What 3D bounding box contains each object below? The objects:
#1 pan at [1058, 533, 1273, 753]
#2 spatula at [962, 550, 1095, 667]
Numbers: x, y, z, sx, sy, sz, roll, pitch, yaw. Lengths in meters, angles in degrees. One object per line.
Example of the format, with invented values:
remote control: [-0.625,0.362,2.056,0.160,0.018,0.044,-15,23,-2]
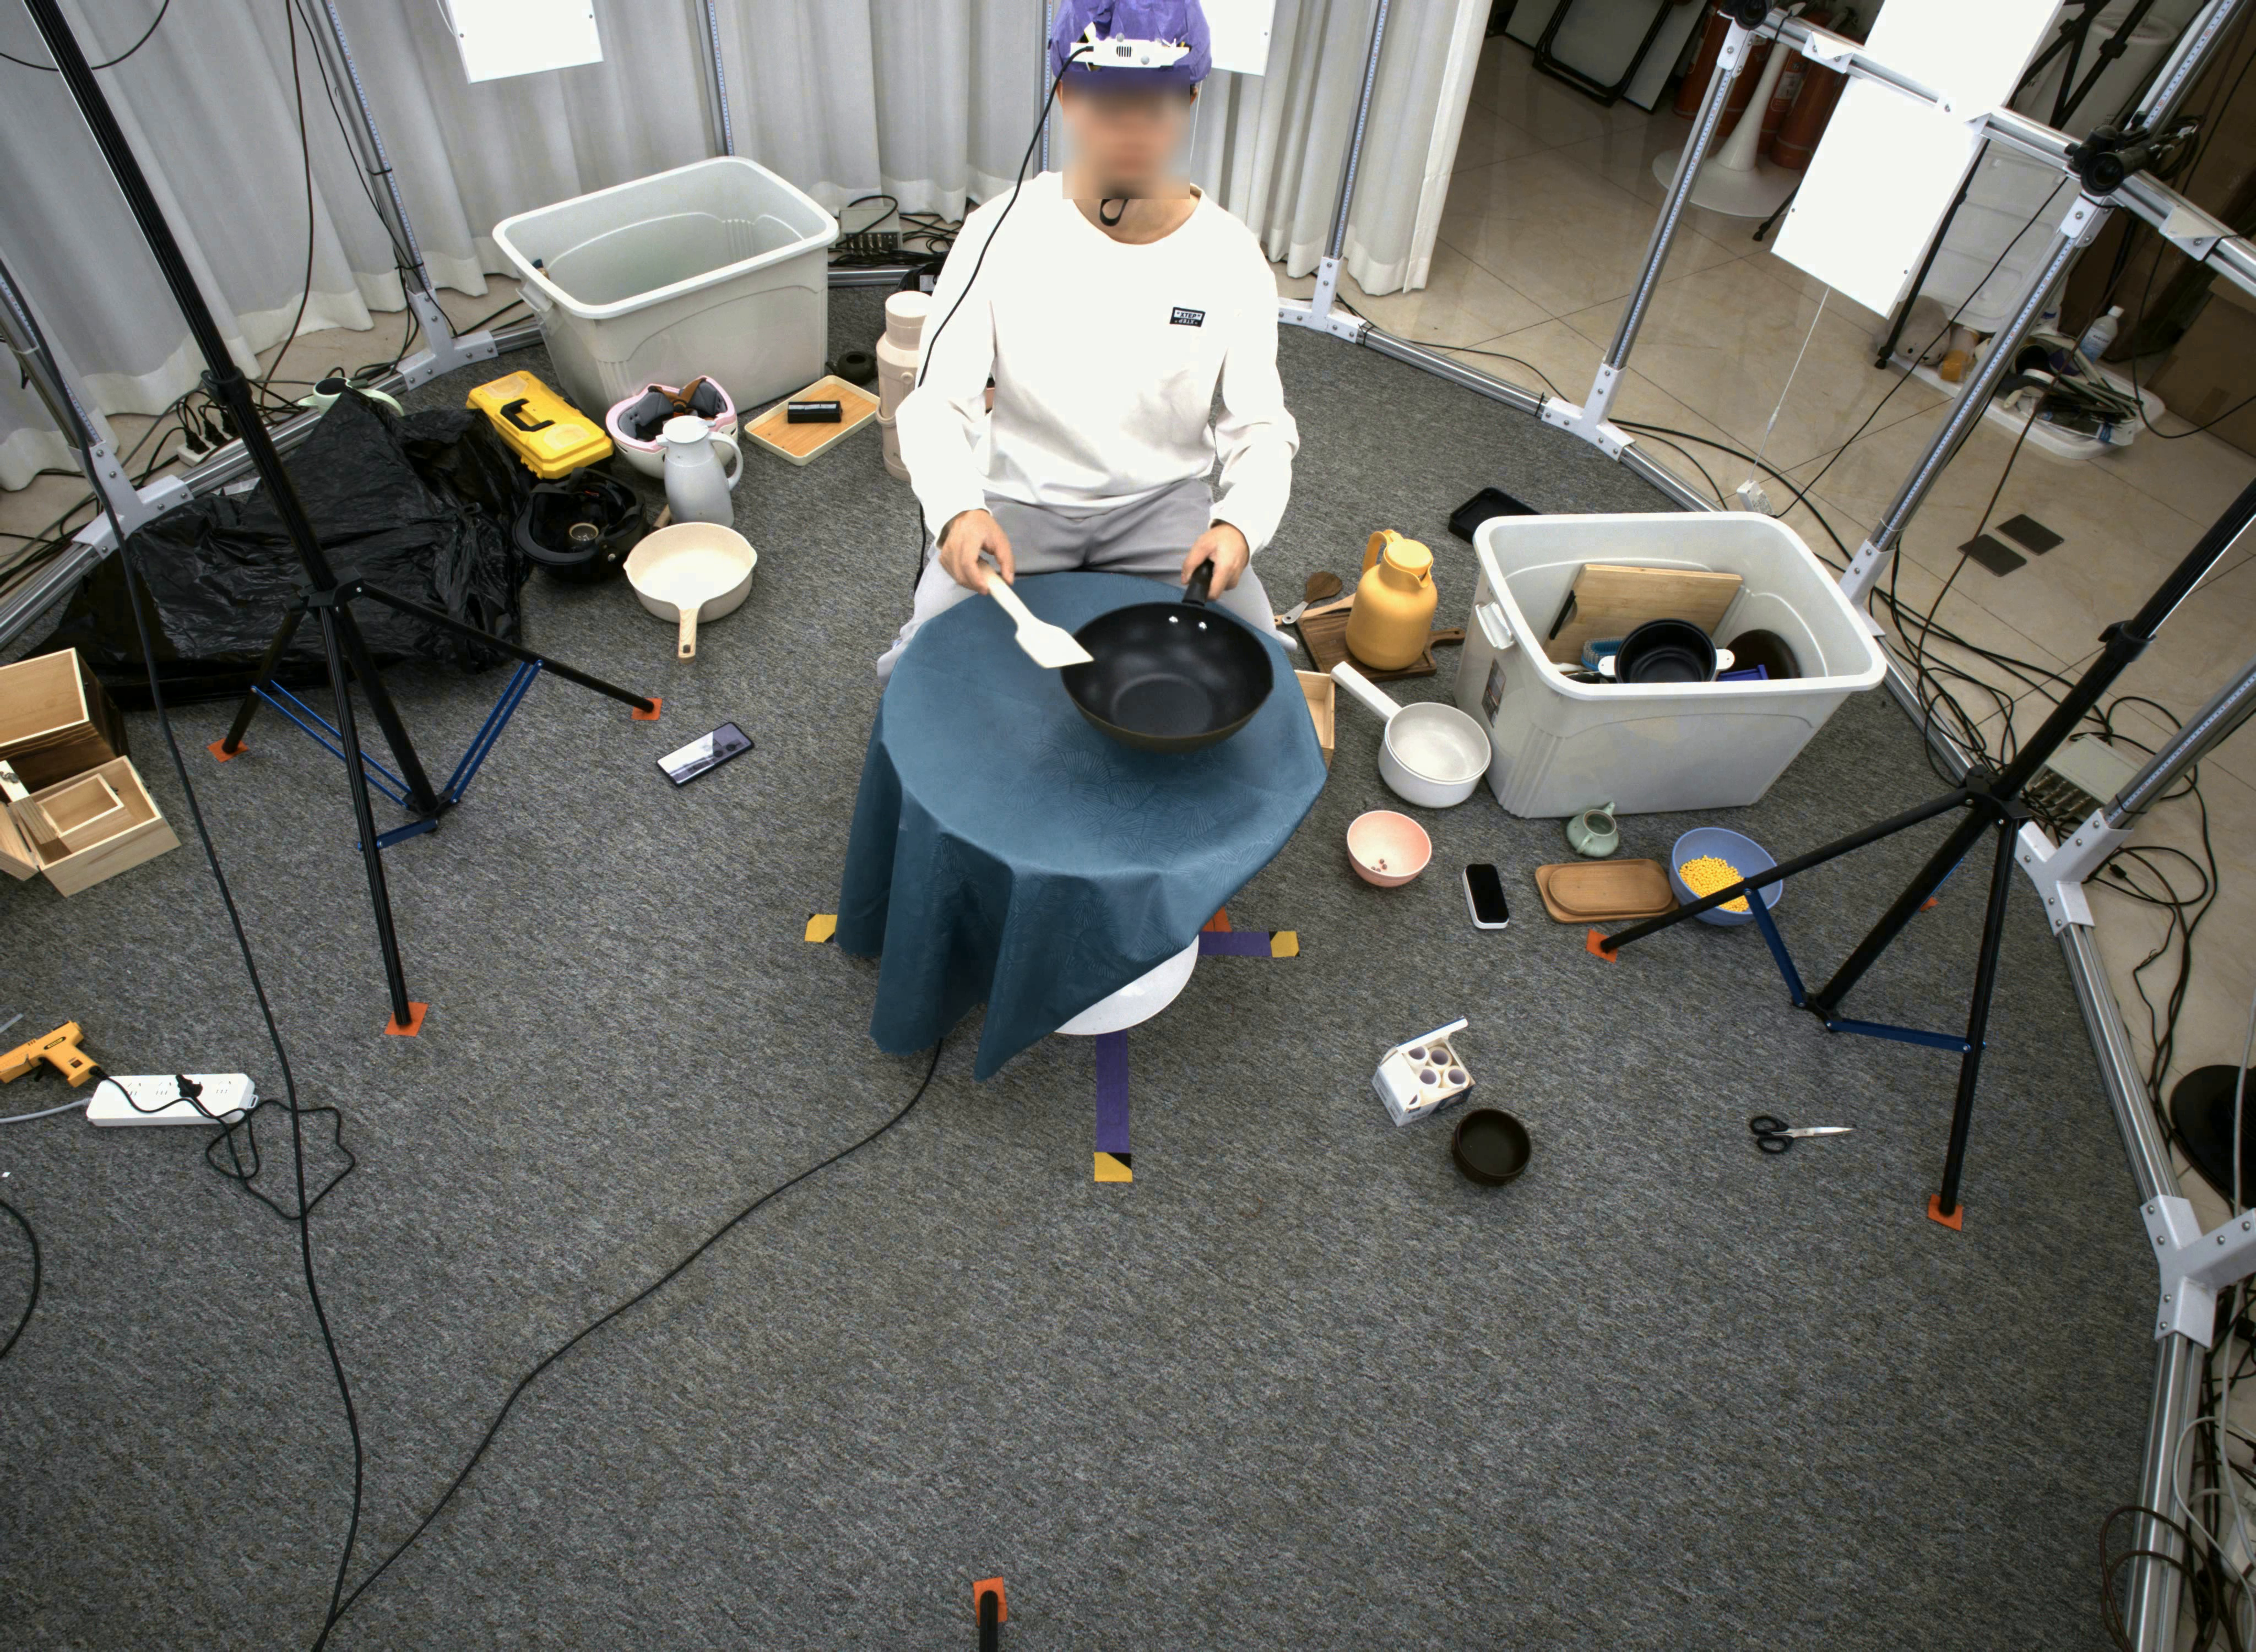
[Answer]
pan: [0.072,-0.251,1.784,0.289,0.085,0.473,12,46,10]
spatula: [-0.145,-0.291,1.701,0.072,0.010,0.299,-13,44,-31]
